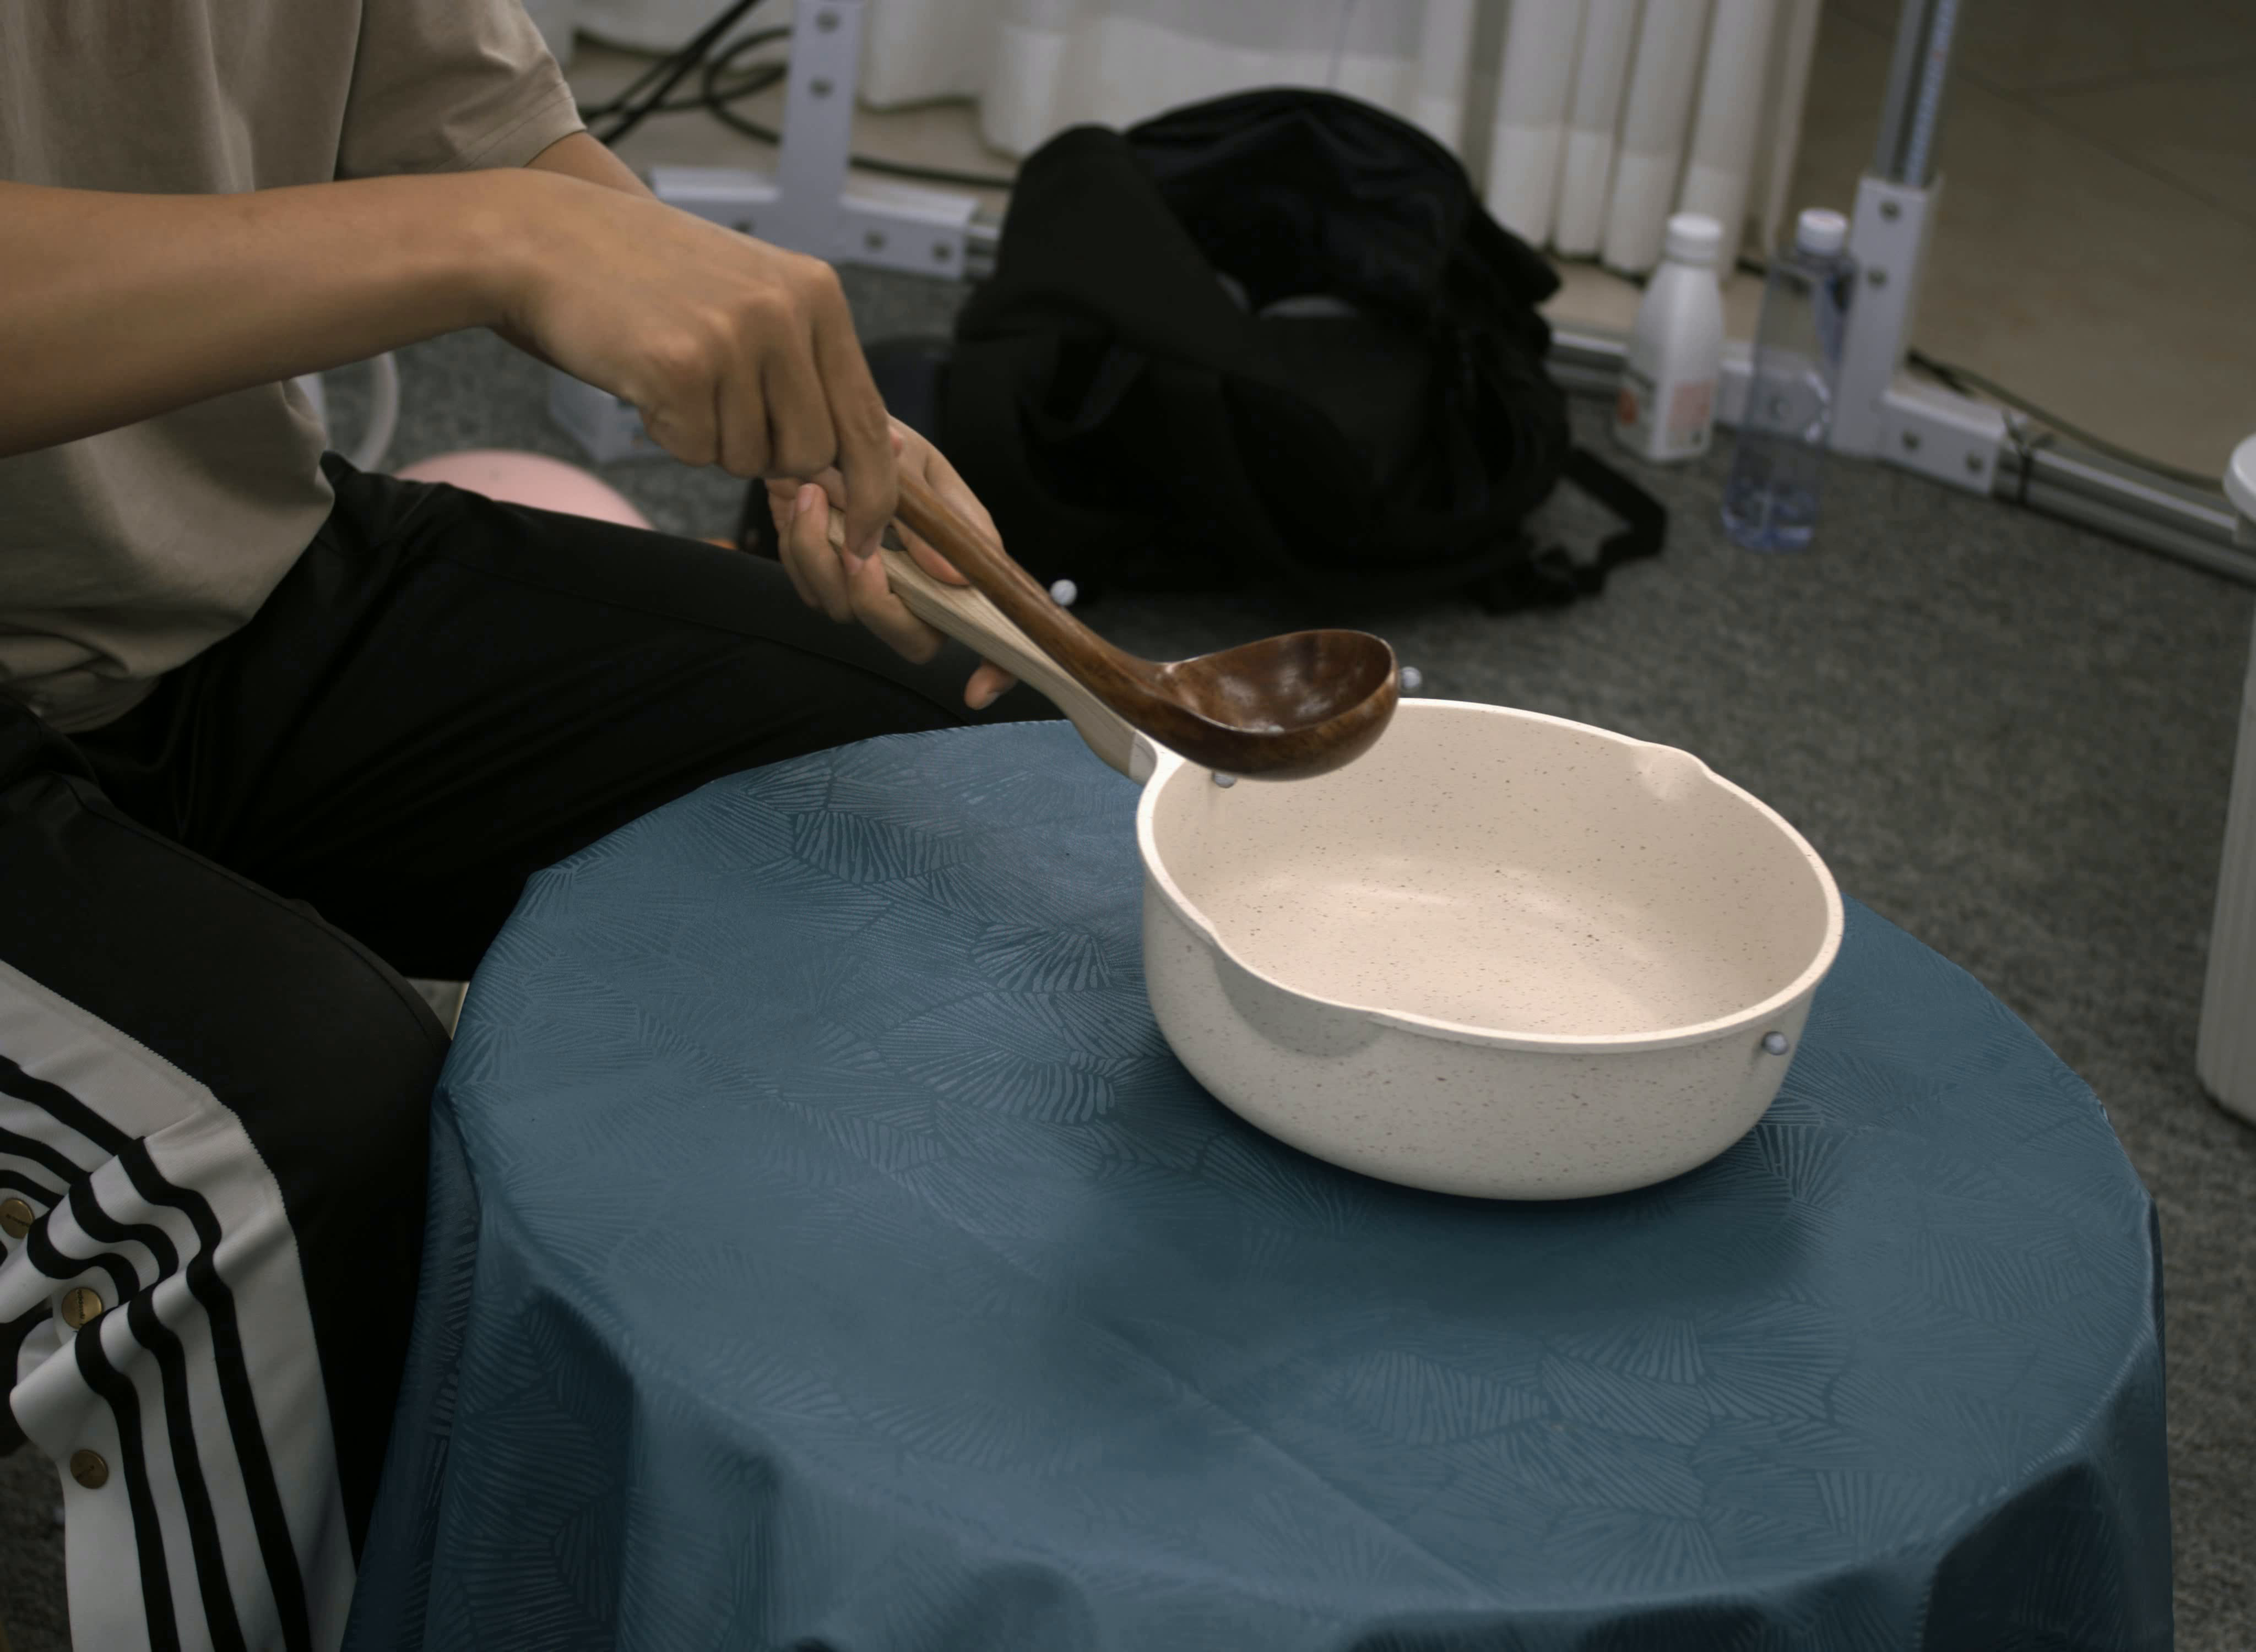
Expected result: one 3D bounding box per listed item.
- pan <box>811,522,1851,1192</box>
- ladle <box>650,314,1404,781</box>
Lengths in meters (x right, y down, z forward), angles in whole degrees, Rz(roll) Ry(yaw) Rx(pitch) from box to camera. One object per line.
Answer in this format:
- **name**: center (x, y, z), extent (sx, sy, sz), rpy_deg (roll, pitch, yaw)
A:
- **pan**: center (0.054, 0.005, 1.940), extent (0.437, 0.101, 0.262), rpy_deg (24, 33, 30)
- **ladle**: center (-0.026, -0.102, 1.720), extent (0.272, 0.076, 0.082), rpy_deg (38, 5, -20)
